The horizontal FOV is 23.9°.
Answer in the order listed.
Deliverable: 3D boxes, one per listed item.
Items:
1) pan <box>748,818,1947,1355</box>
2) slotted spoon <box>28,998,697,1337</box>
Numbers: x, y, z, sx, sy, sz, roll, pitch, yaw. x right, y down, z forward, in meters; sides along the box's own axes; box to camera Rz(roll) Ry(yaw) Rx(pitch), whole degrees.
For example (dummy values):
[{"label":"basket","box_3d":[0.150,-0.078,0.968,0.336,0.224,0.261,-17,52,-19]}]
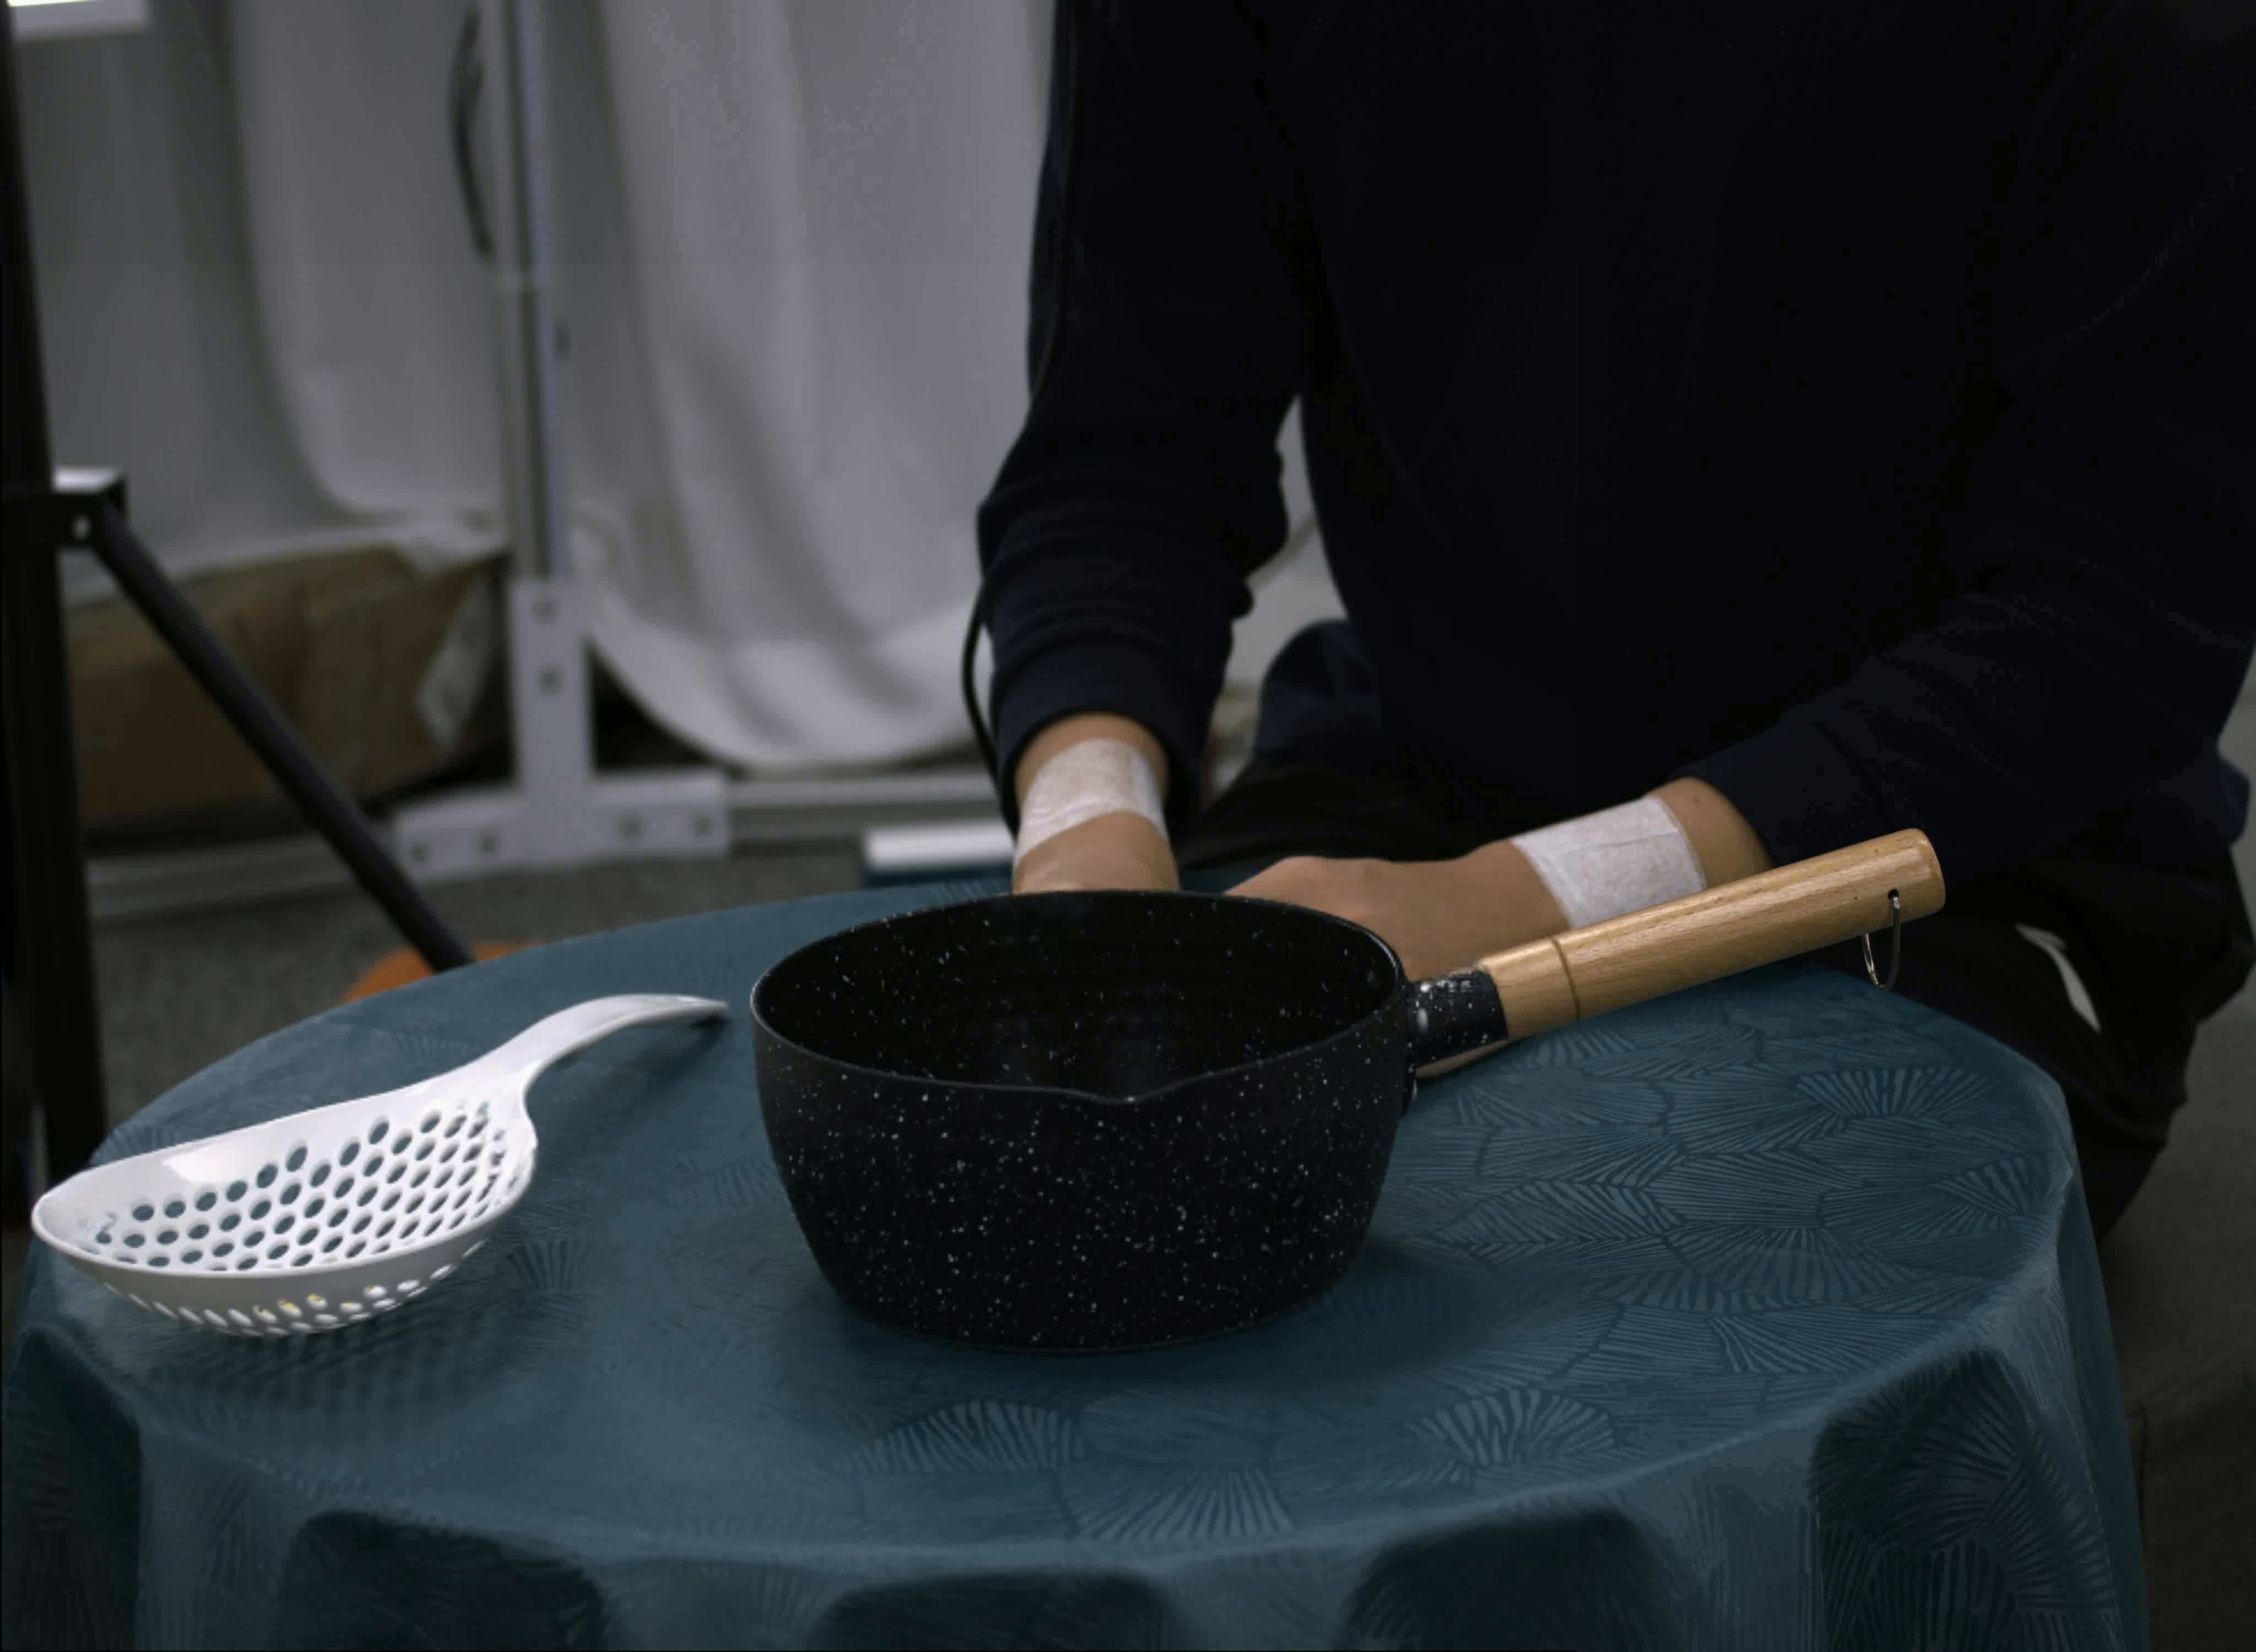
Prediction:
[{"label":"pan","box_3d":[0.066,0.066,1.497,0.339,0.108,0.209,-6,15,-6]},{"label":"slotted spoon","box_3d":[-0.196,0.088,1.584,0.138,0.050,0.344,1,17,20]}]
